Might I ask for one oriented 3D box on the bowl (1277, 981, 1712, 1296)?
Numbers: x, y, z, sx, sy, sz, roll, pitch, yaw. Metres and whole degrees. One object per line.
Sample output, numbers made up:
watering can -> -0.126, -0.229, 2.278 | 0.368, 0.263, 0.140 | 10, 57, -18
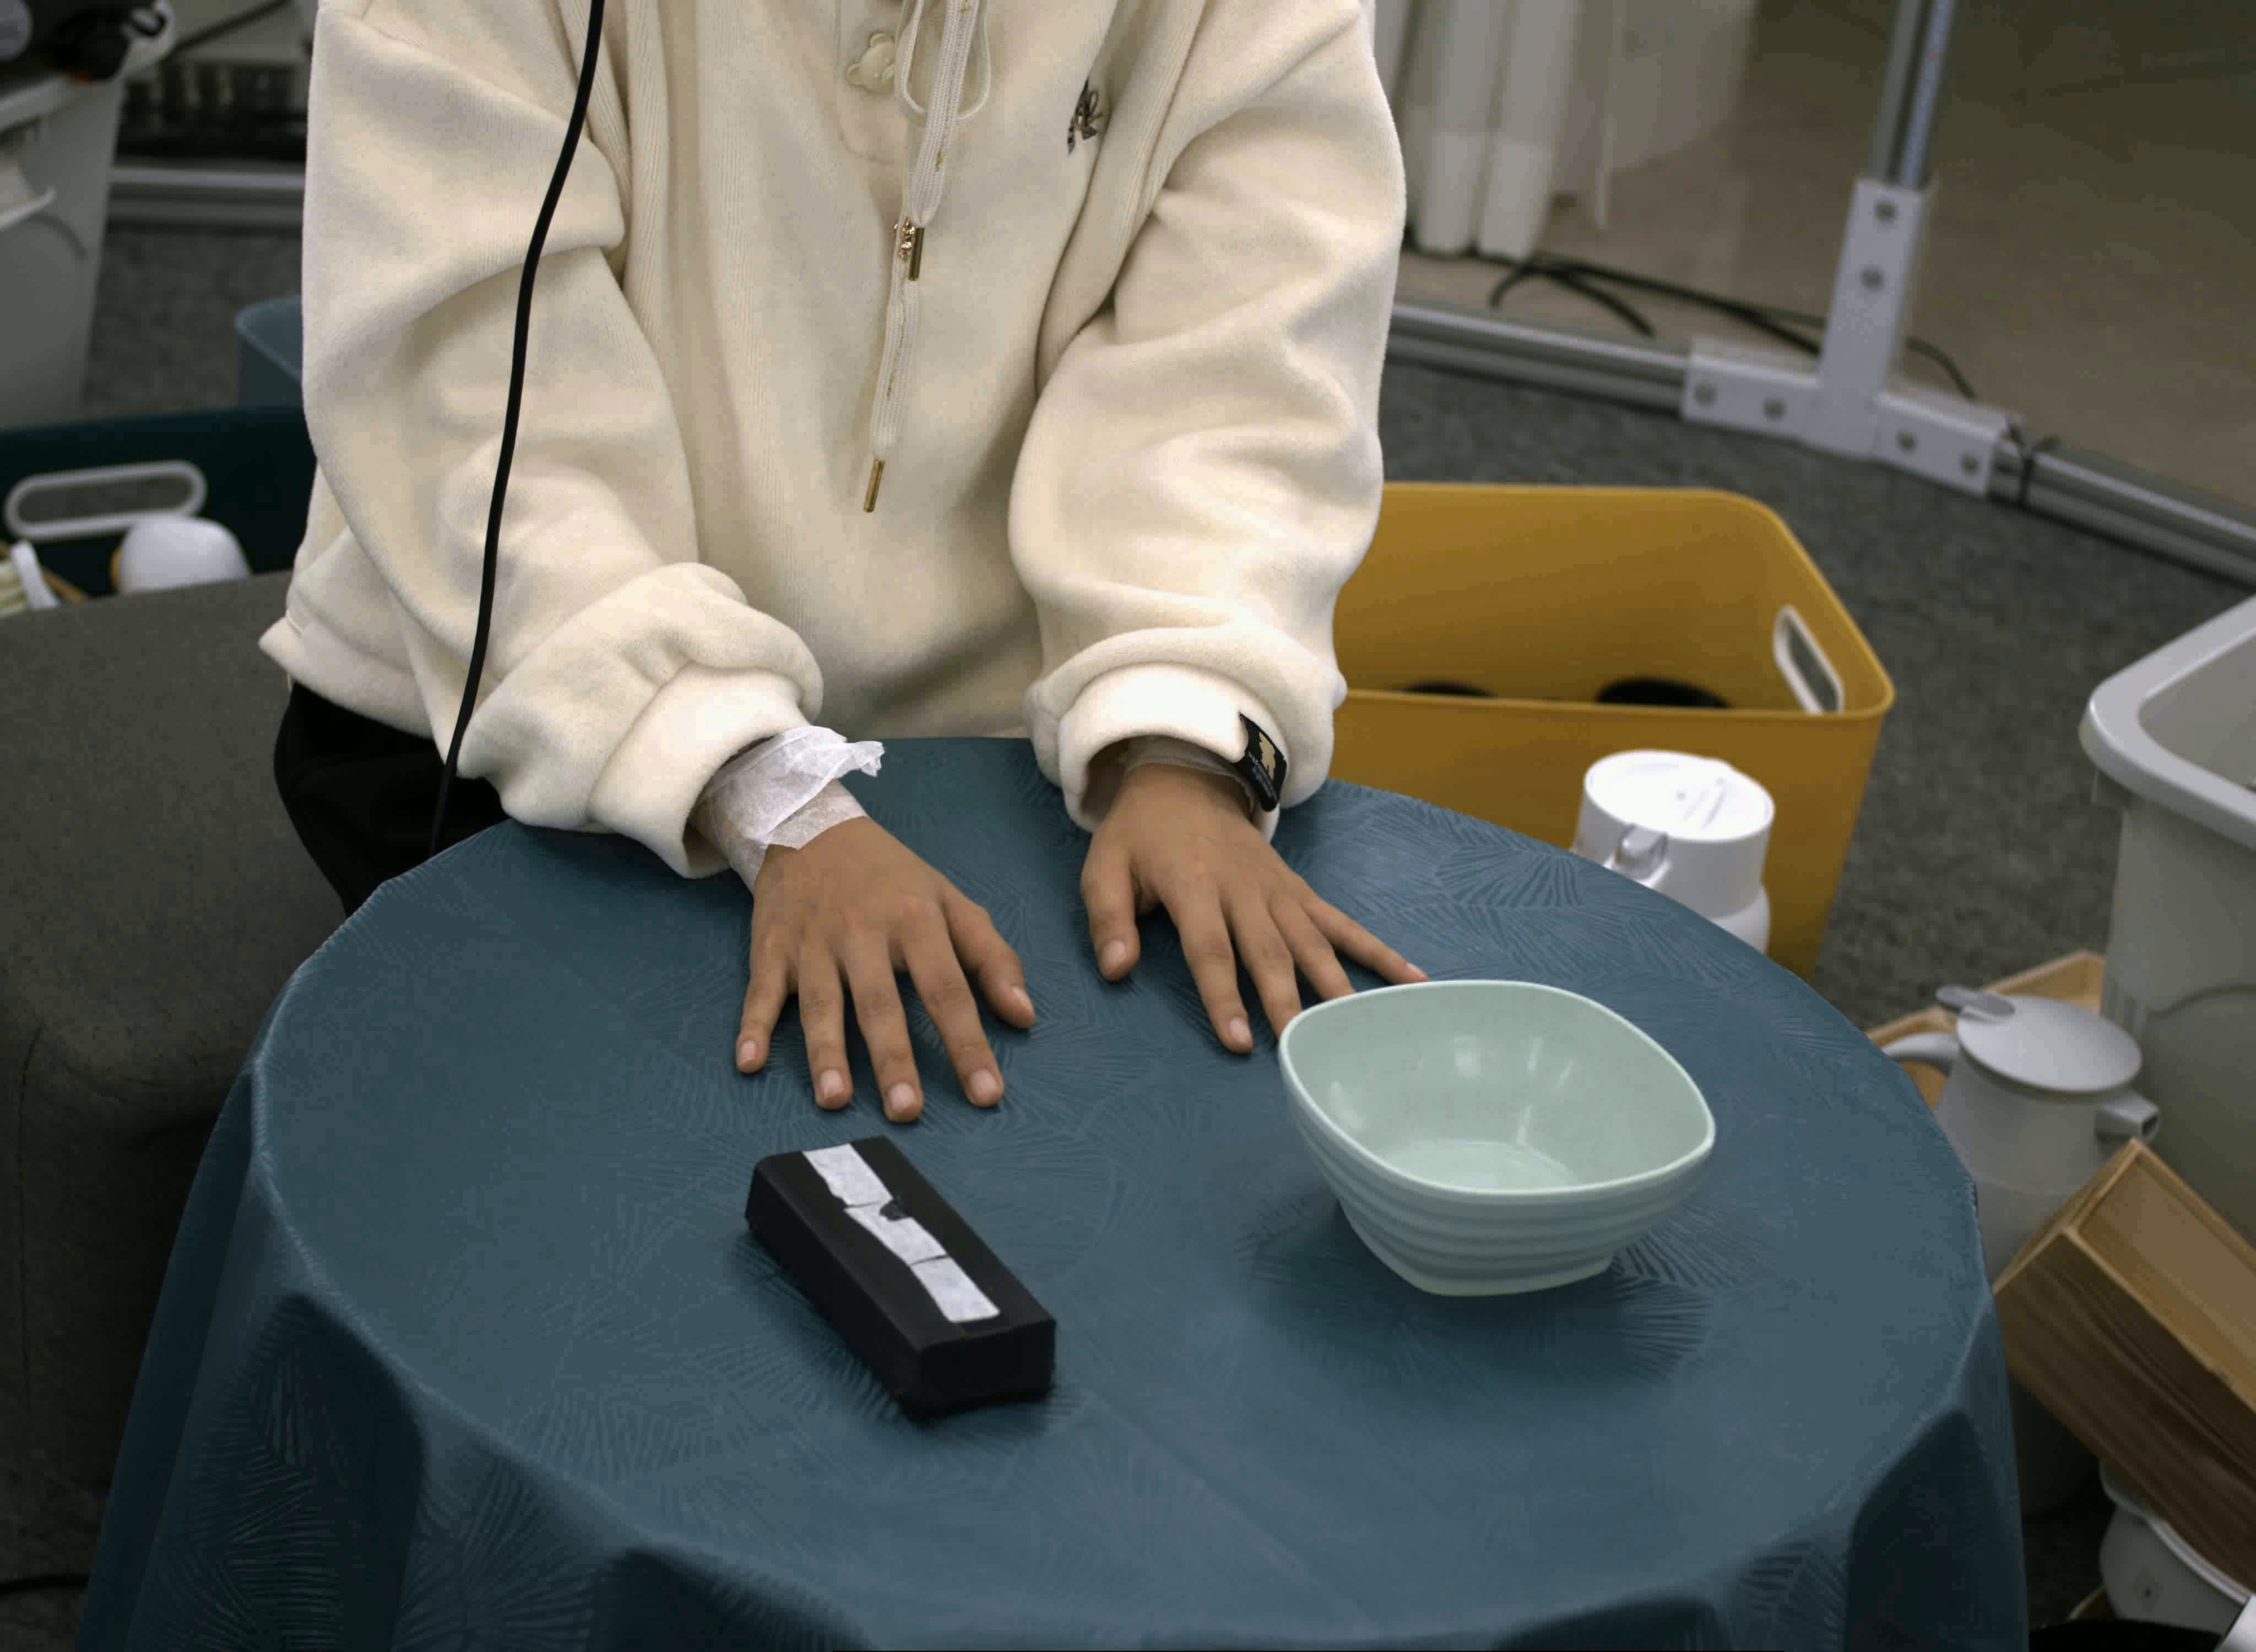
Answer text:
bowl -> 0.118, 0.111, 1.791 | 0.151, 0.058, 0.152 | 8, 26, -4

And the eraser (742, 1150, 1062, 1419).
eraser -> -0.074, 0.146, 1.711 | 0.053, 0.030, 0.126 | -8, 28, -30
